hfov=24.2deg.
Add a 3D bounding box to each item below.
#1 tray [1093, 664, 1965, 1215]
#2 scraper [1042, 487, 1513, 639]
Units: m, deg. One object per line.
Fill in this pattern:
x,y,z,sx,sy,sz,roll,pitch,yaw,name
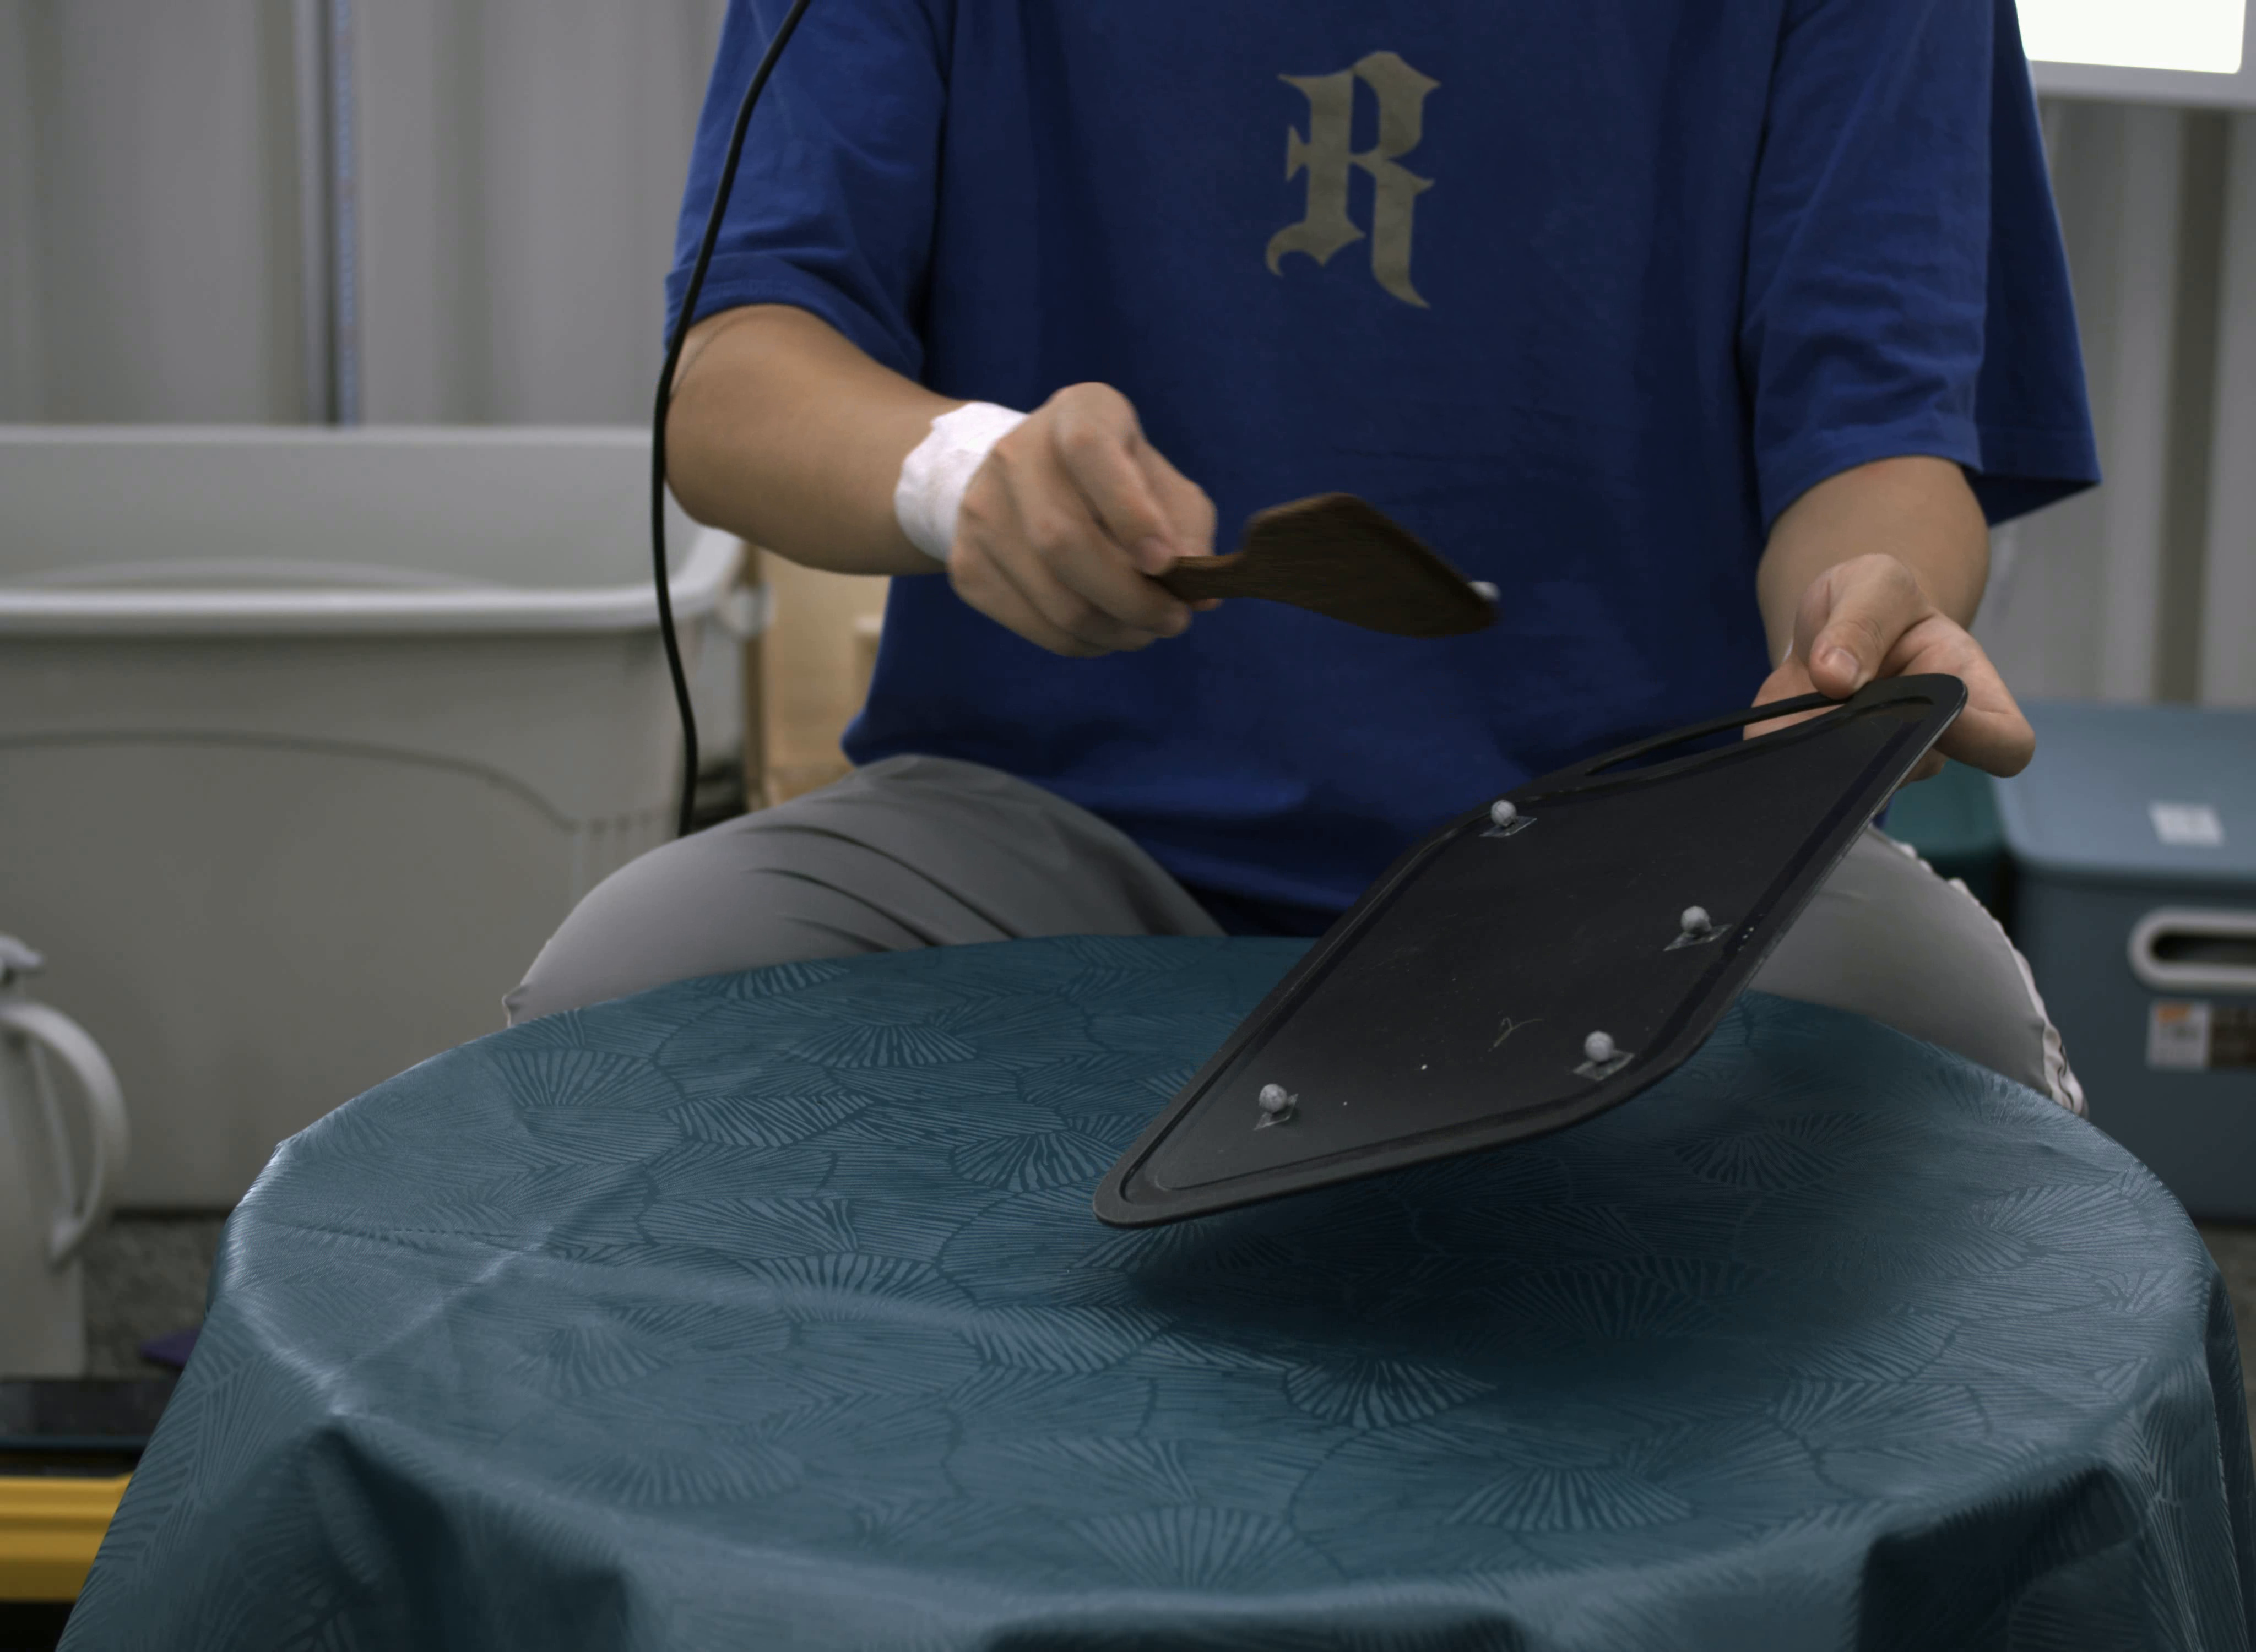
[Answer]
0.127,0.027,1.594,0.209,0.010,0.325,-16,17,35,tray
0.037,-0.079,1.673,0.076,0.011,0.209,36,-19,-29,scraper
